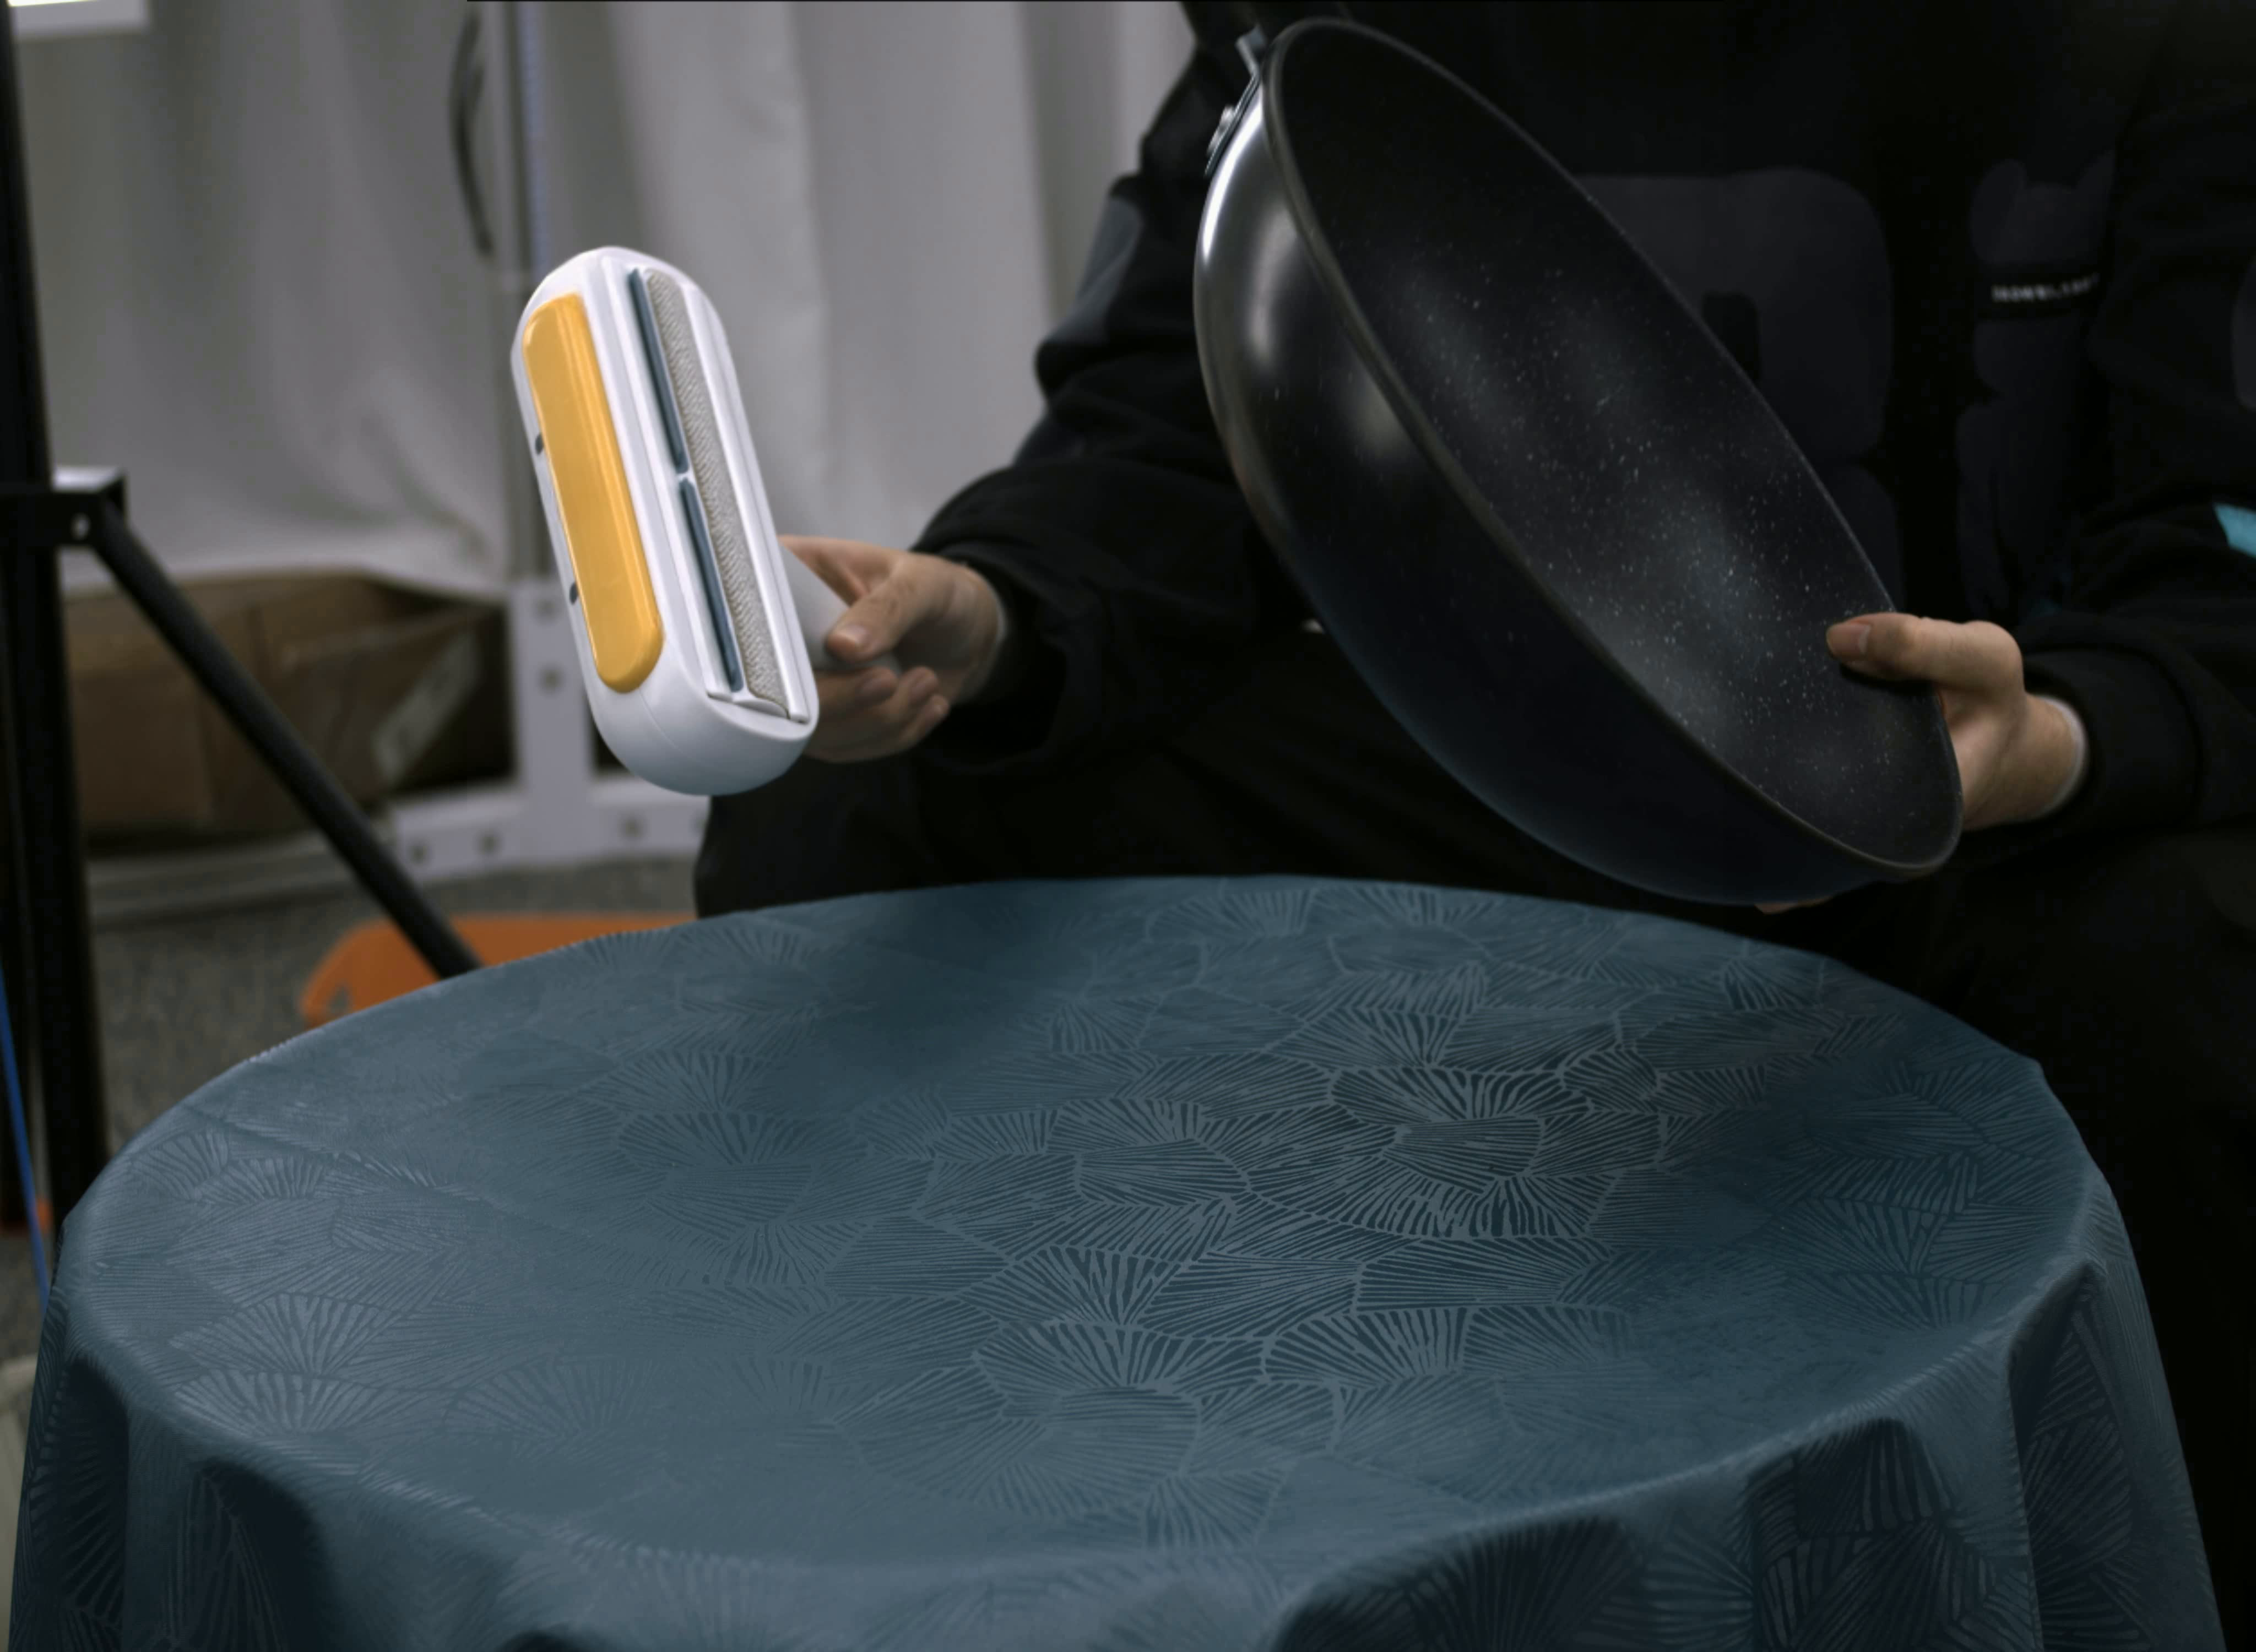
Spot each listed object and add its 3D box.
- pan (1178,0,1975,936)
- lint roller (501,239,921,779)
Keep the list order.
[{"bbox_3d":[0.073,-0.151,1.543,0.112,0.475,0.308,-39,6,21],"label":"pan"},{"bbox_3d":[-0.120,-0.079,1.741,0.075,0.196,0.187,-36,-39,23],"label":"lint roller"}]
